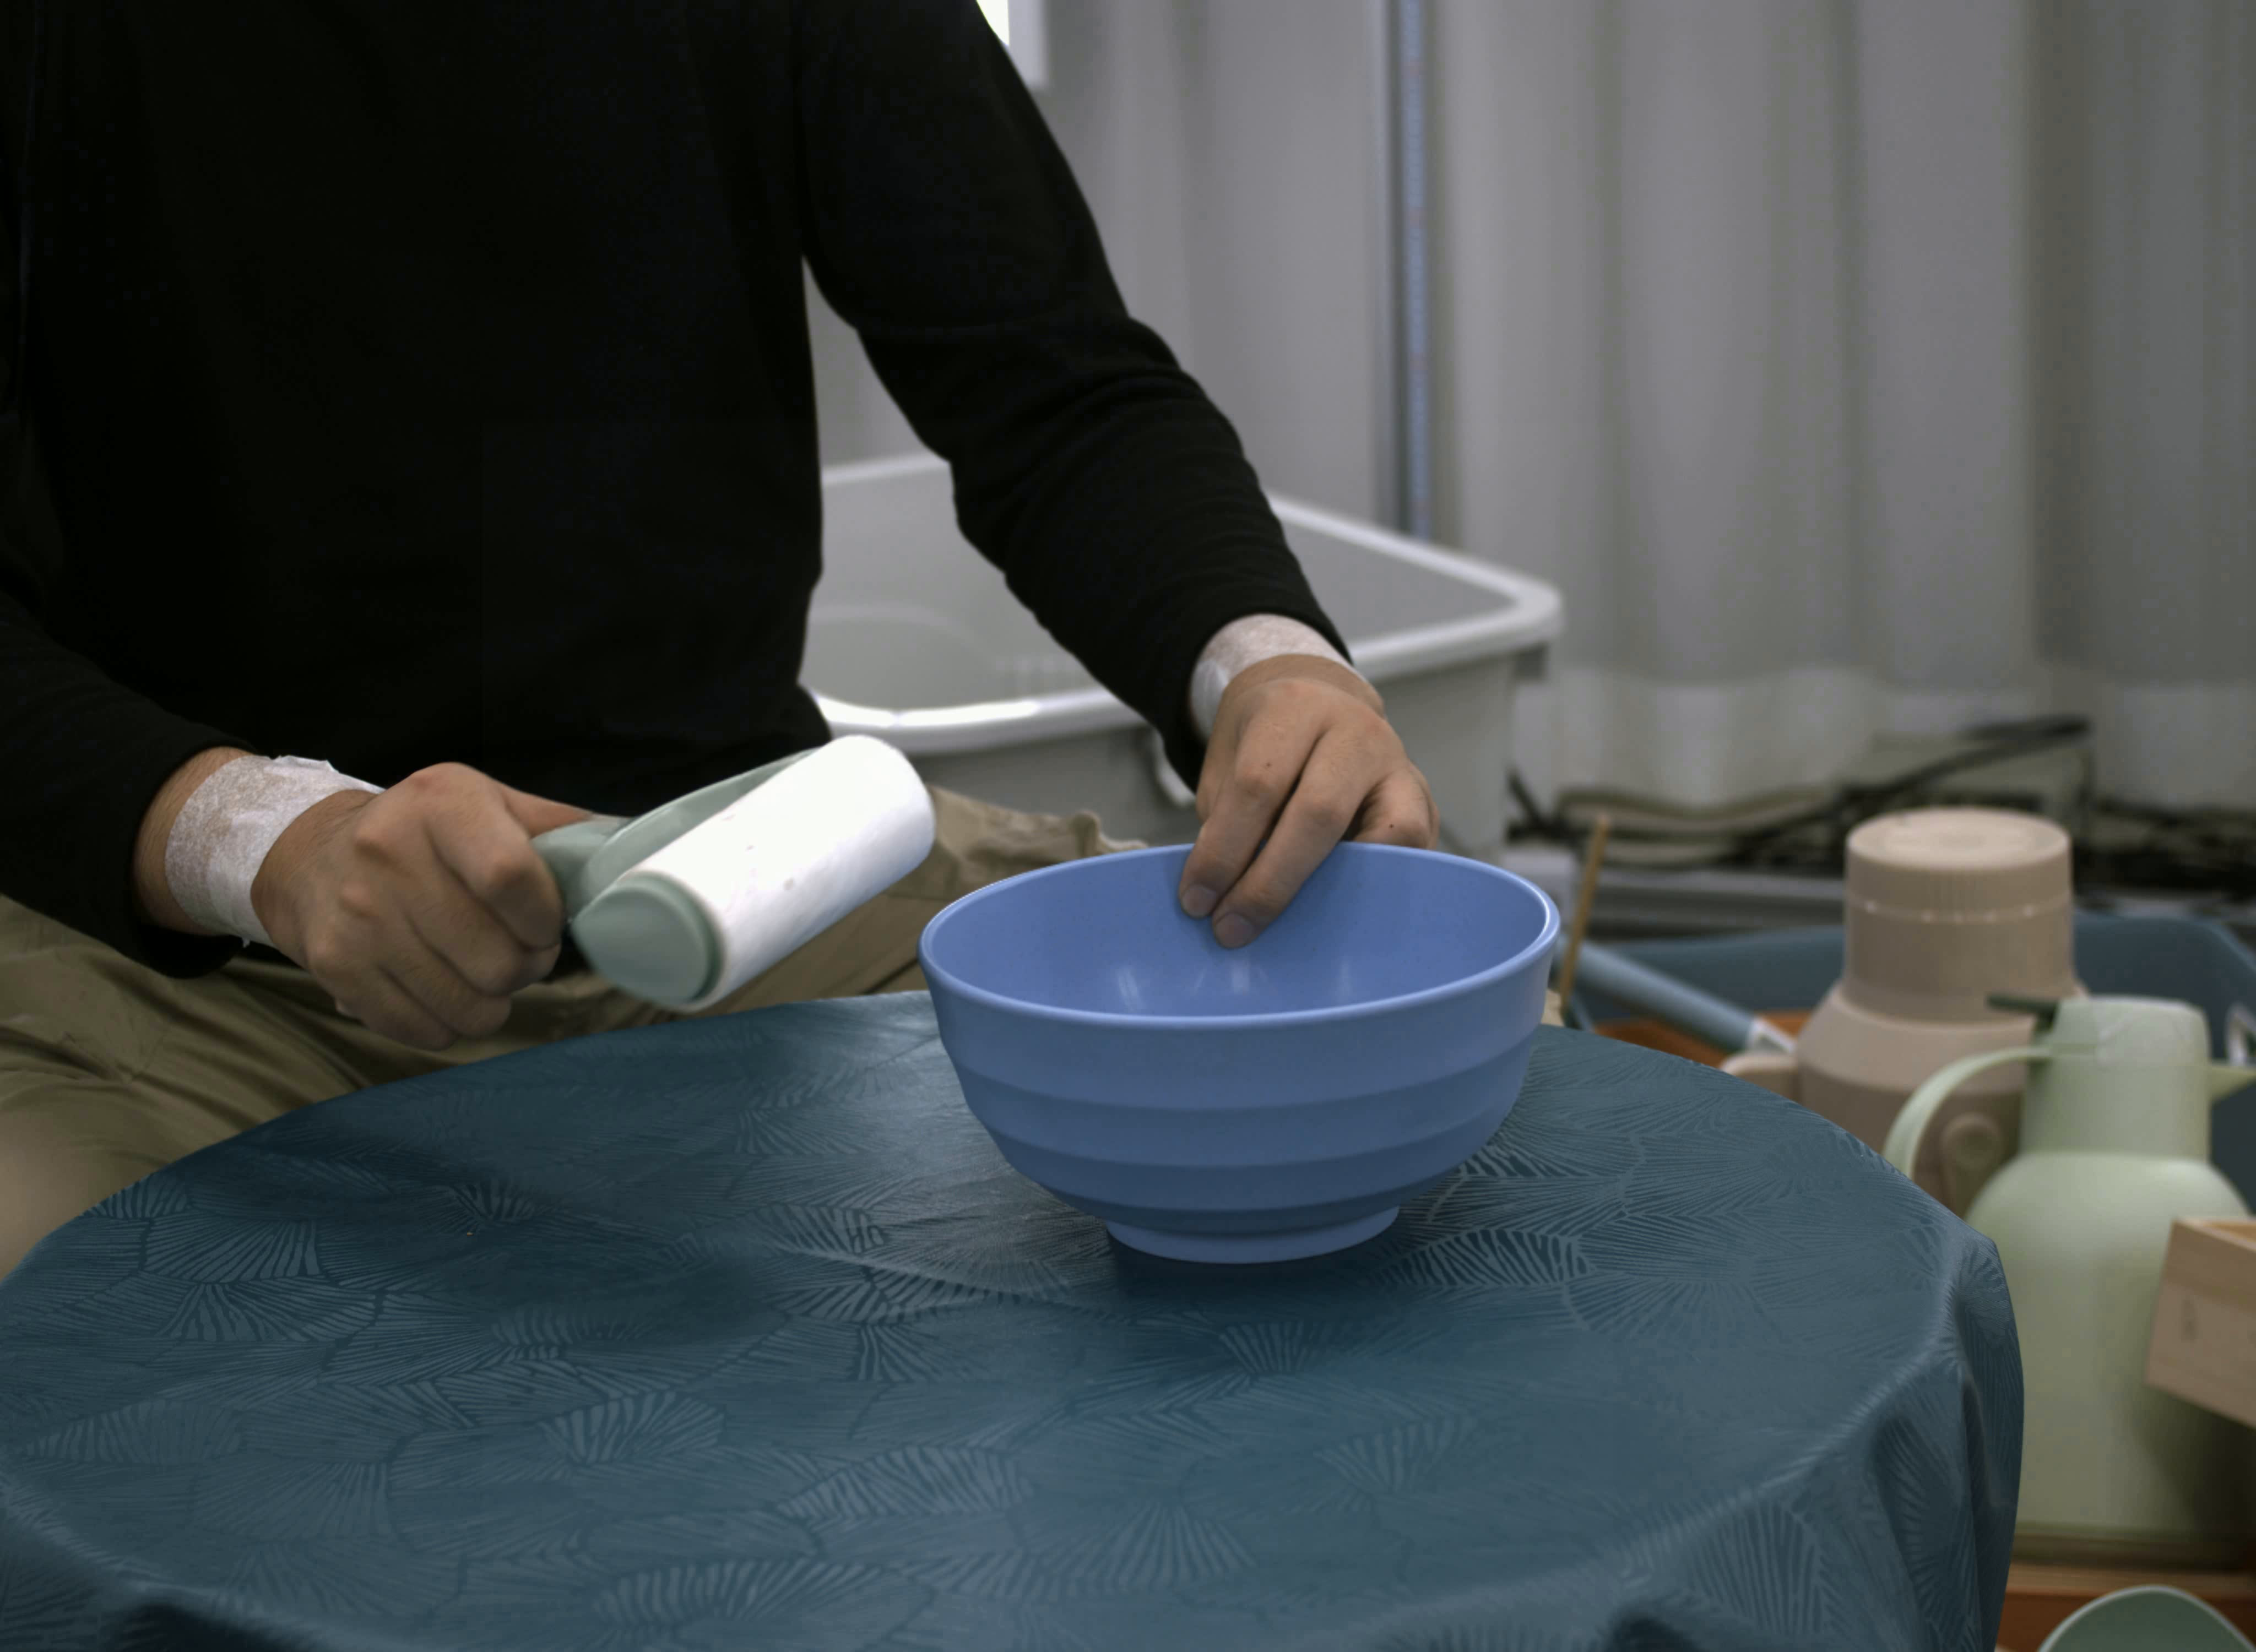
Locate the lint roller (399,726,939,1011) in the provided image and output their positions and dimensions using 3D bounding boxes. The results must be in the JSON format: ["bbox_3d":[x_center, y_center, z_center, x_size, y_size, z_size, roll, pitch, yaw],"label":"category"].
[{"bbox_3d":[-0.157,0.020,1.667,0.197,0.048,0.117,-9,19,42],"label":"lint roller"}]

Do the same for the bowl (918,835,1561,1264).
[{"bbox_3d":[0.036,0.074,1.674,0.196,0.095,0.198,-4,15,1],"label":"bowl"}]
